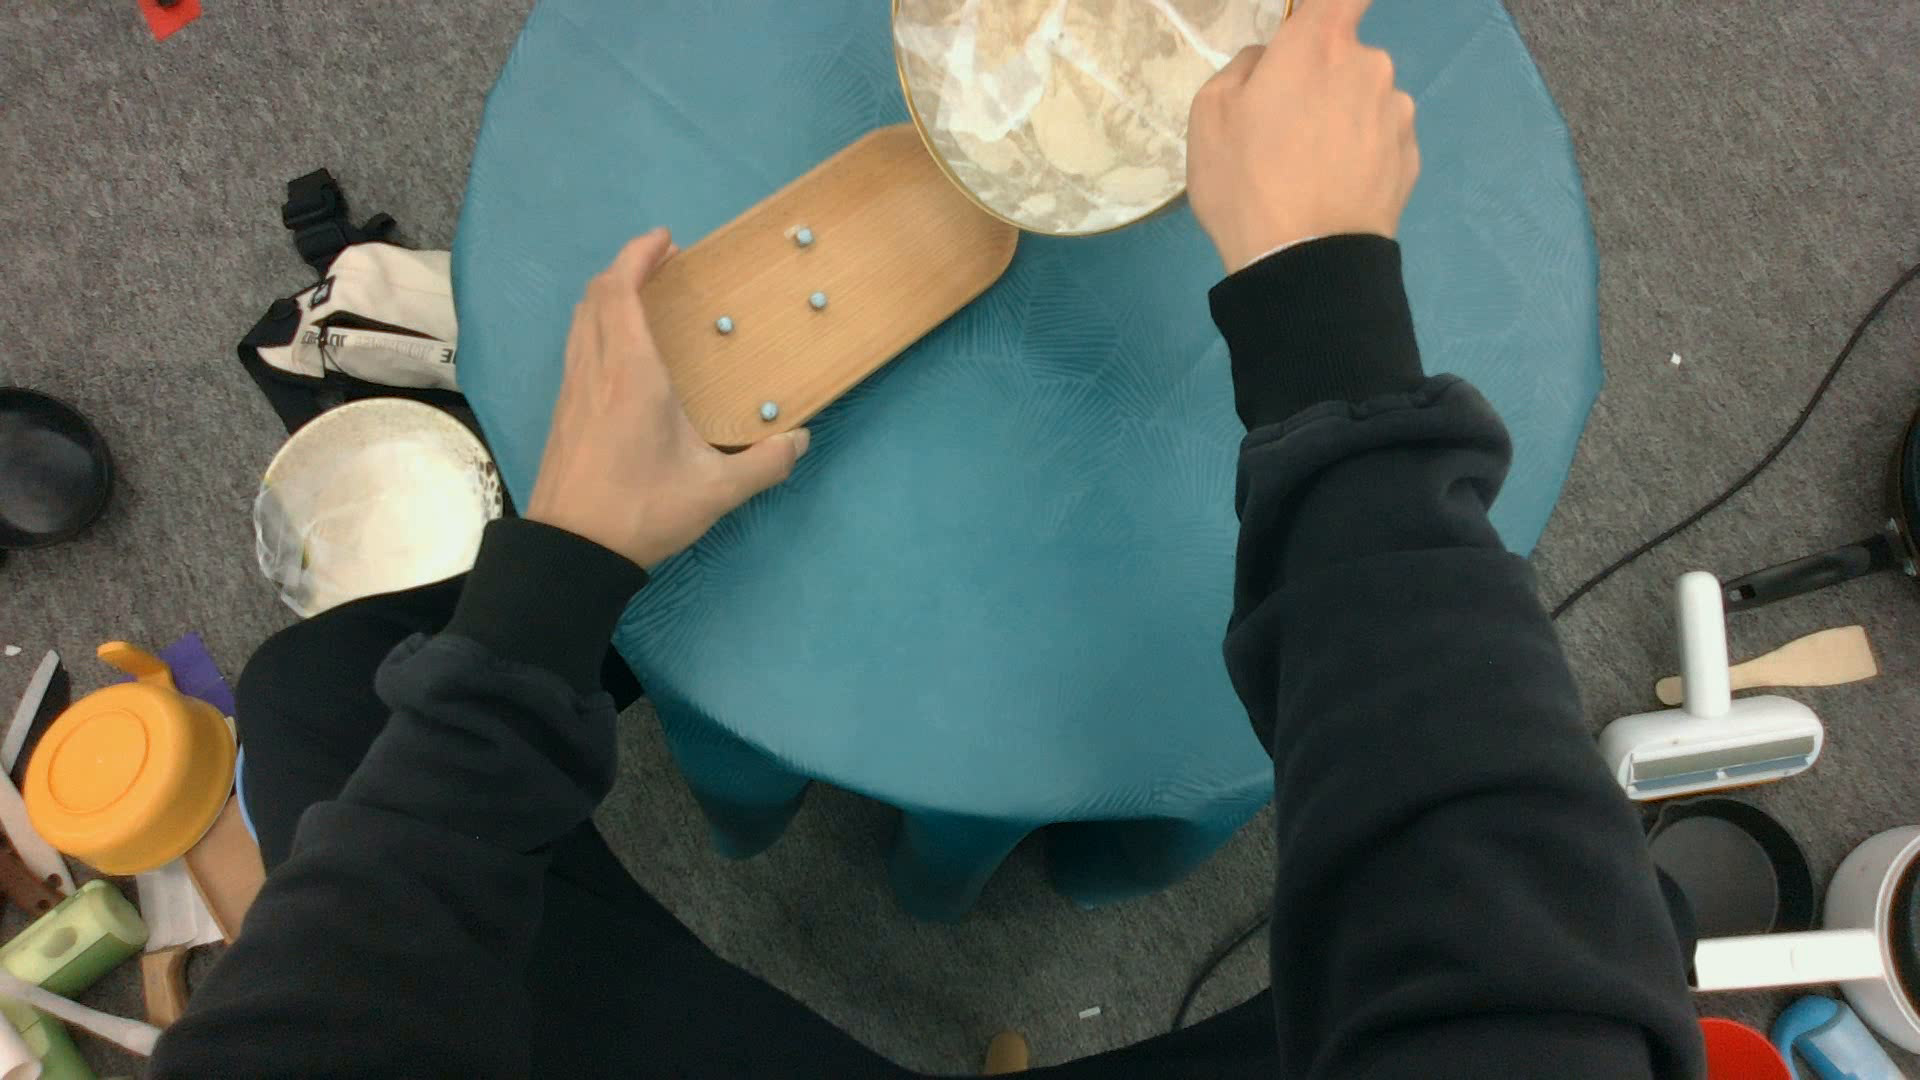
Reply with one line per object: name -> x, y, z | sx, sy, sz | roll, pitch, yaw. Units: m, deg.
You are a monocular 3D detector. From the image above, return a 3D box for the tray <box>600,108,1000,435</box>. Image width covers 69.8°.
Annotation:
tray -> -0.074, -0.136, 0.683 | 0.232, 0.020, 0.101 | -41, 88, -26

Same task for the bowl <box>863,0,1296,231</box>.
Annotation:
bowl -> 0.063, -0.244, 0.614 | 0.095, 0.213, 0.215 | -19, 74, -53
